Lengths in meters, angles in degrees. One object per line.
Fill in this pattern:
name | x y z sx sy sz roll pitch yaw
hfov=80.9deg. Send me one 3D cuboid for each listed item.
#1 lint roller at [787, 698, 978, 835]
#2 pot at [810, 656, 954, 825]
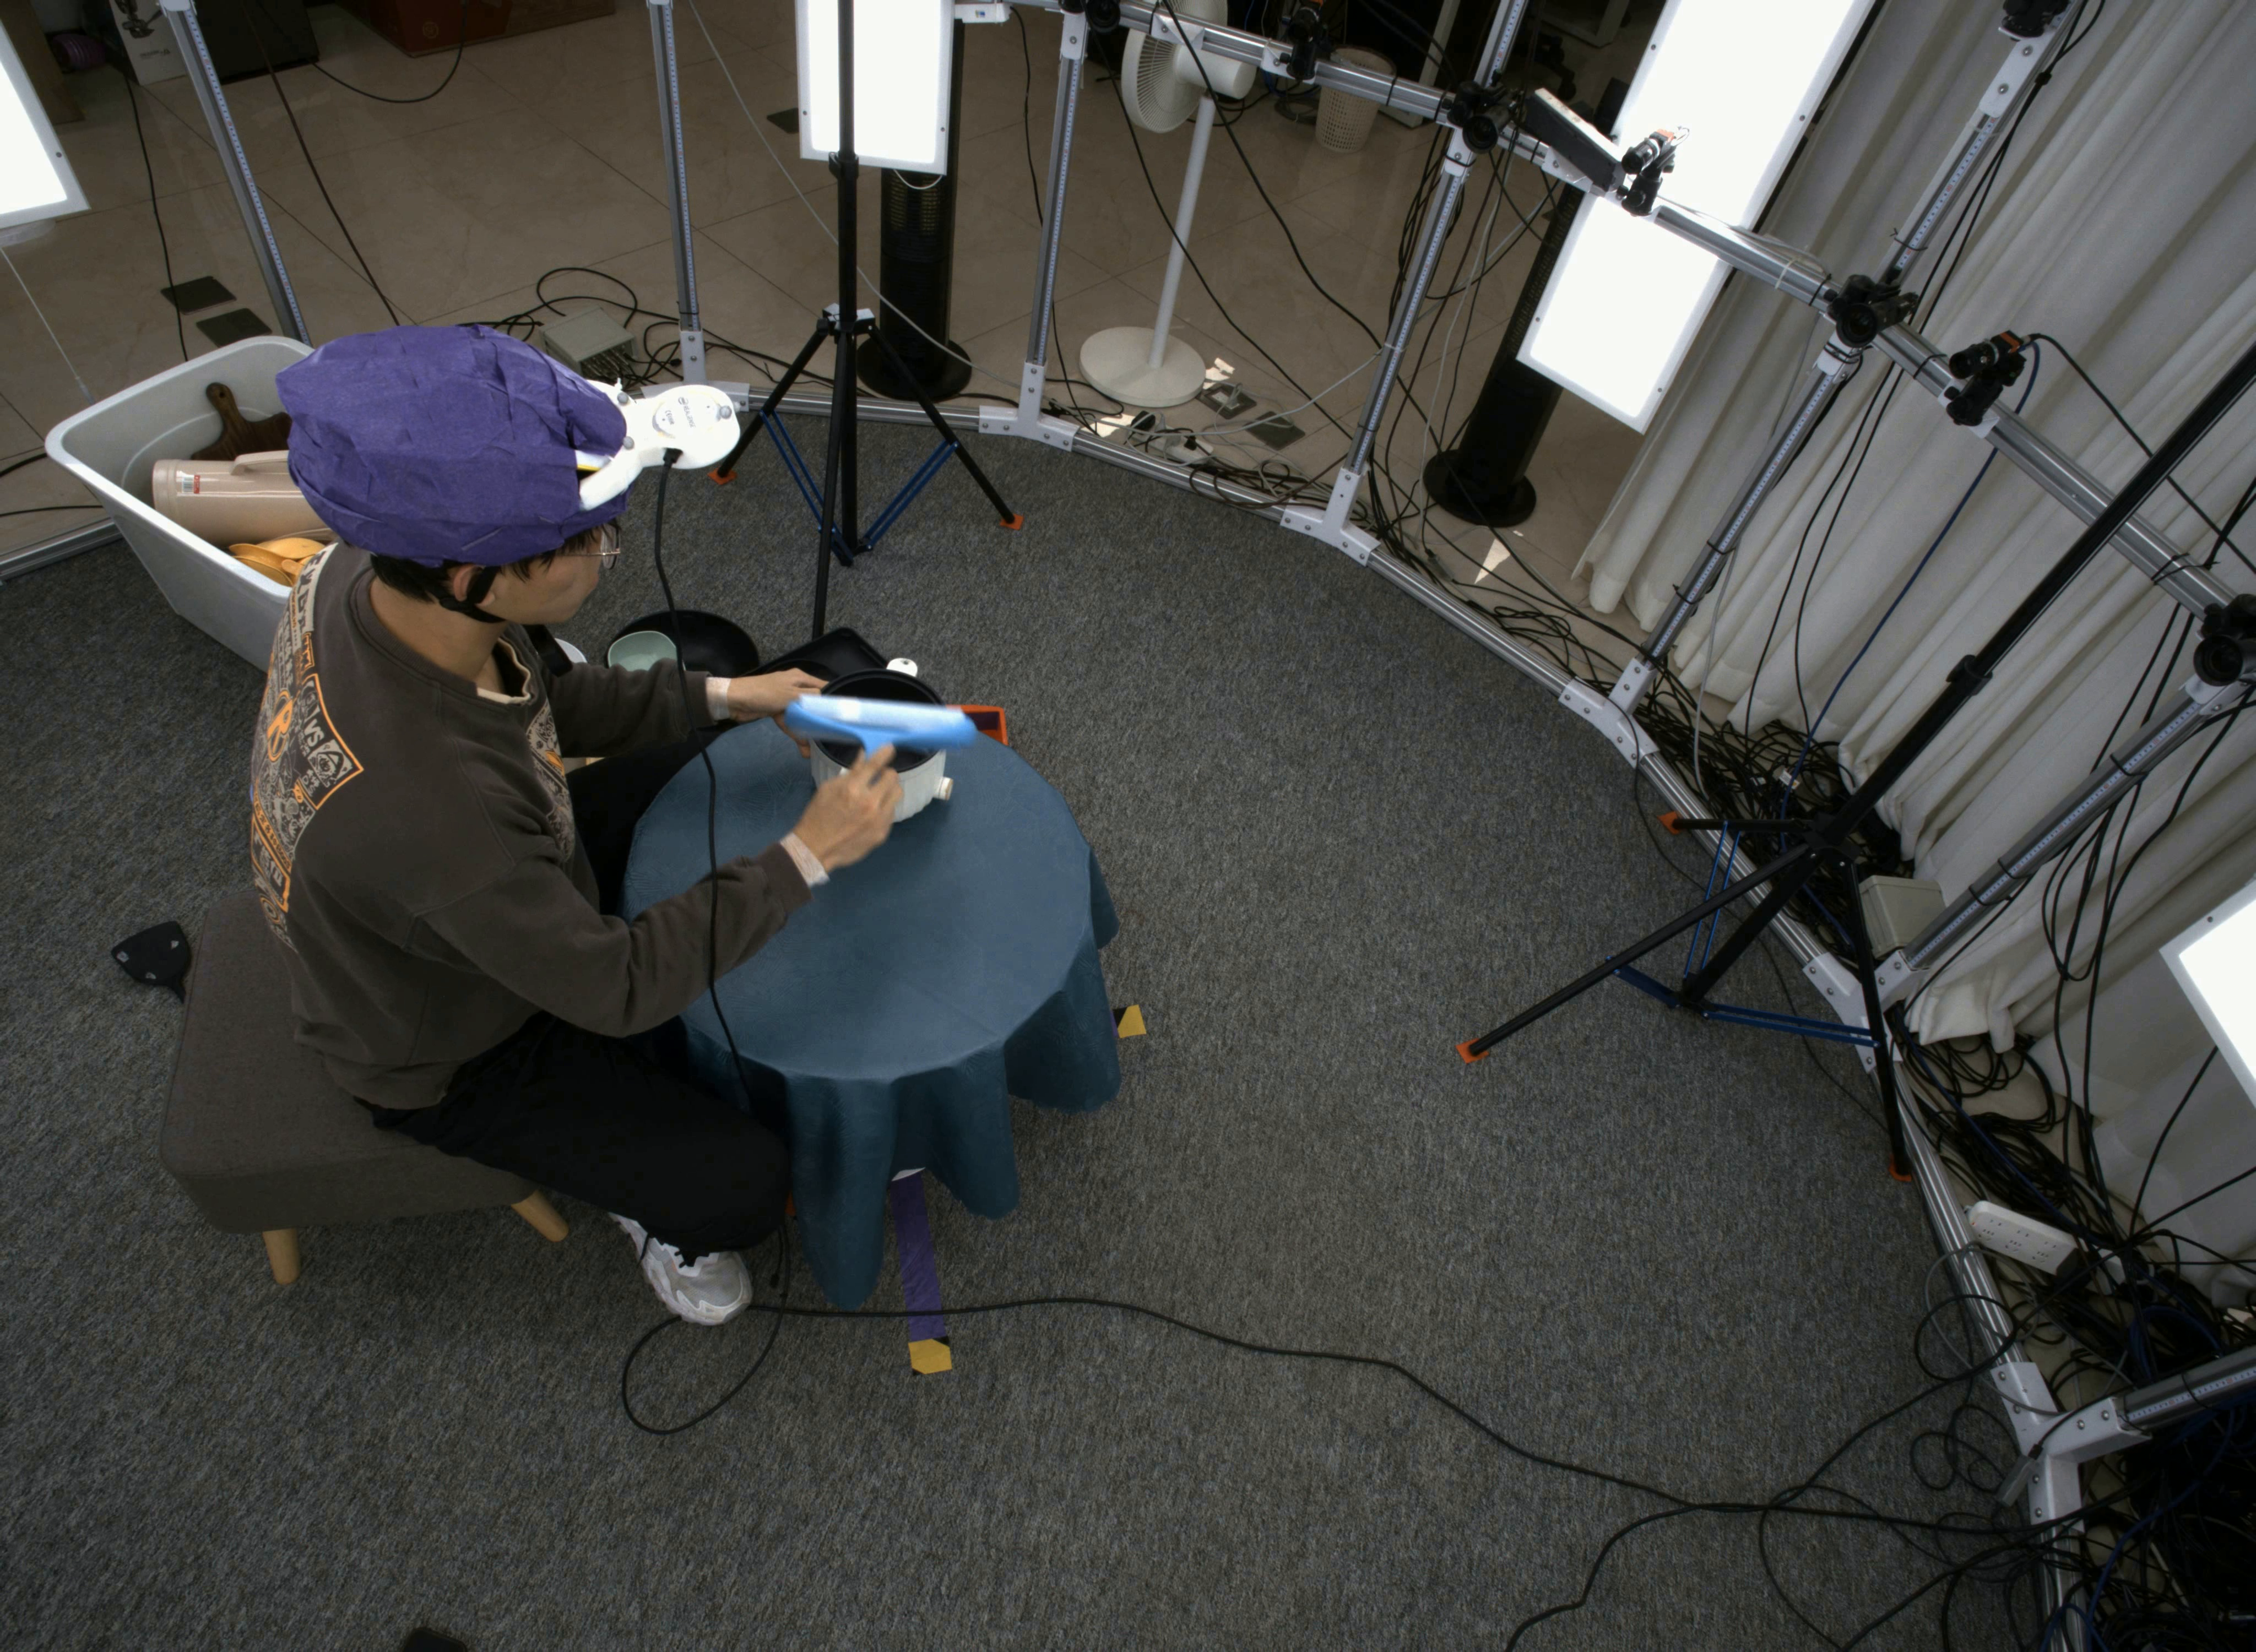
lint roller | -0.292 -0.076 1.523 0.229 0.069 0.176 6 45 -11
pot | -0.329 -0.099 1.745 0.188 0.146 0.237 12 53 1
